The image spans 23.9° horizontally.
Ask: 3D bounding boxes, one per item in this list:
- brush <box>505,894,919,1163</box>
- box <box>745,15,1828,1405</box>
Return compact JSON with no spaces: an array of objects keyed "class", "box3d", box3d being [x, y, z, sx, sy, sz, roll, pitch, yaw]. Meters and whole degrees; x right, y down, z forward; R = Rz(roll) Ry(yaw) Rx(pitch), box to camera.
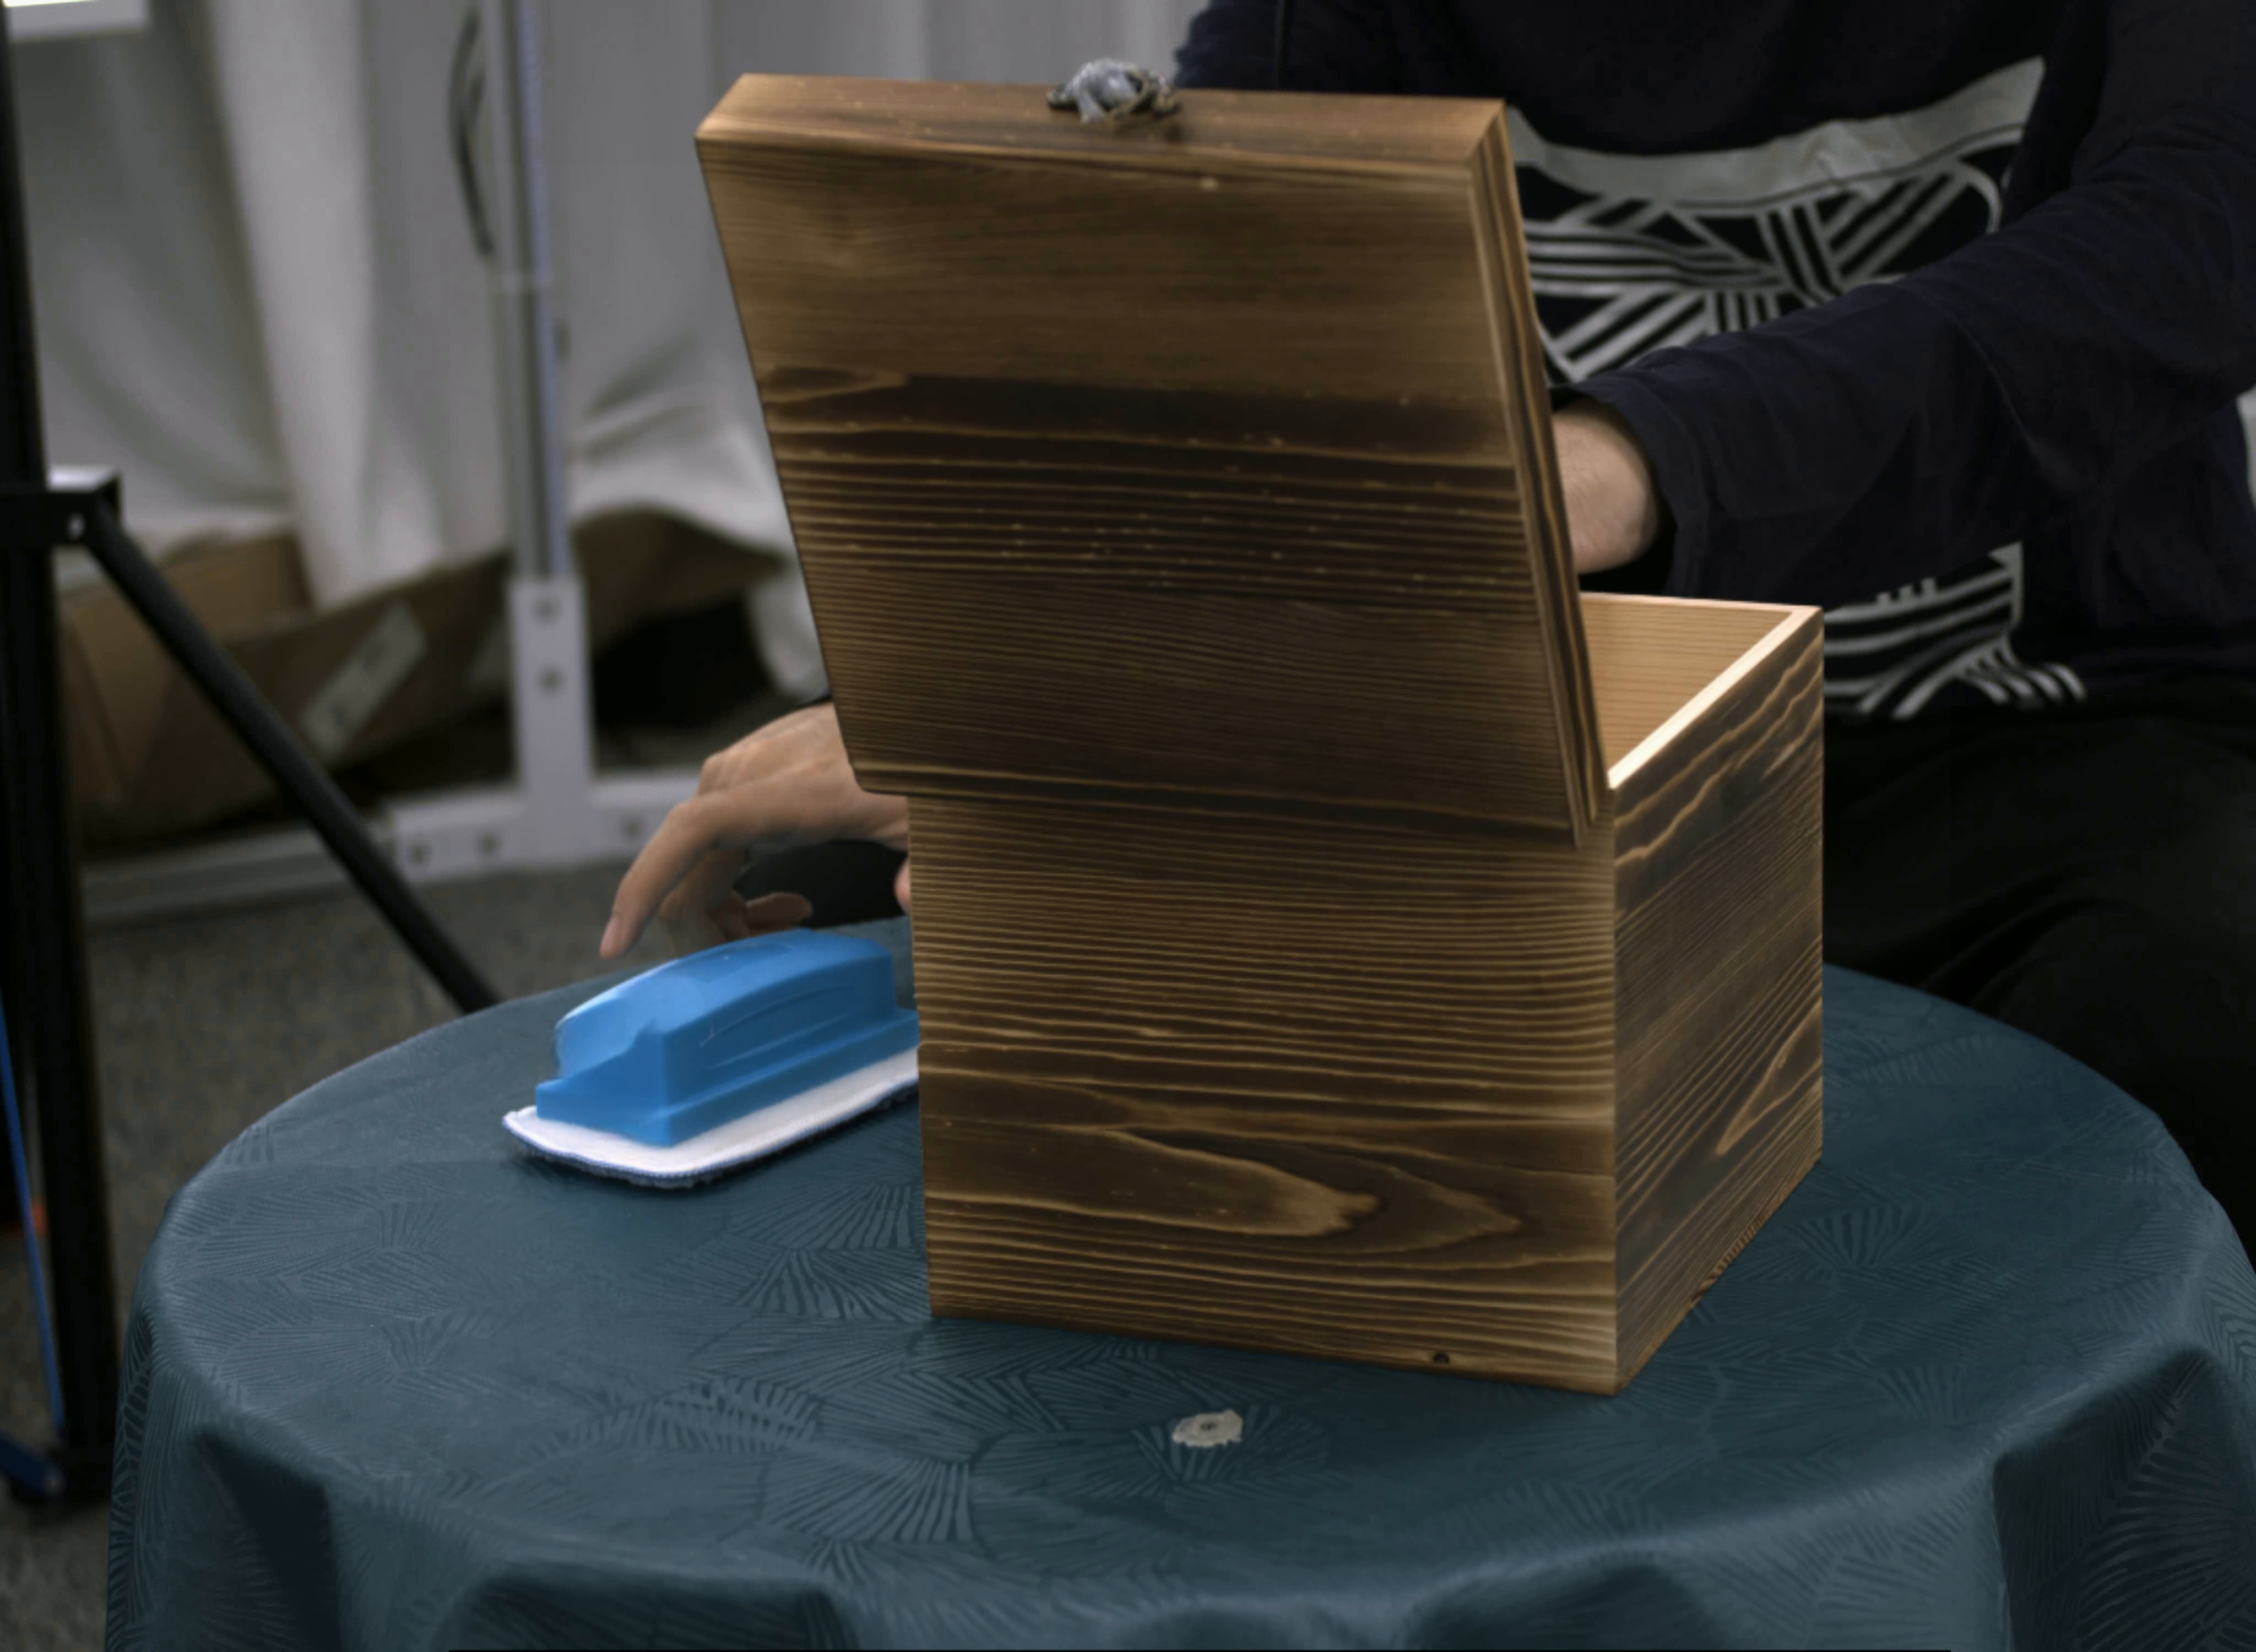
[{"class":"brush","box3d":[-0.120,0.058,1.643,0.086,0.056,0.141,15,25,39]},{"class":"box","box3d":[0.053,-0.043,1.426,0.211,0.375,0.318,5,16,22]}]
